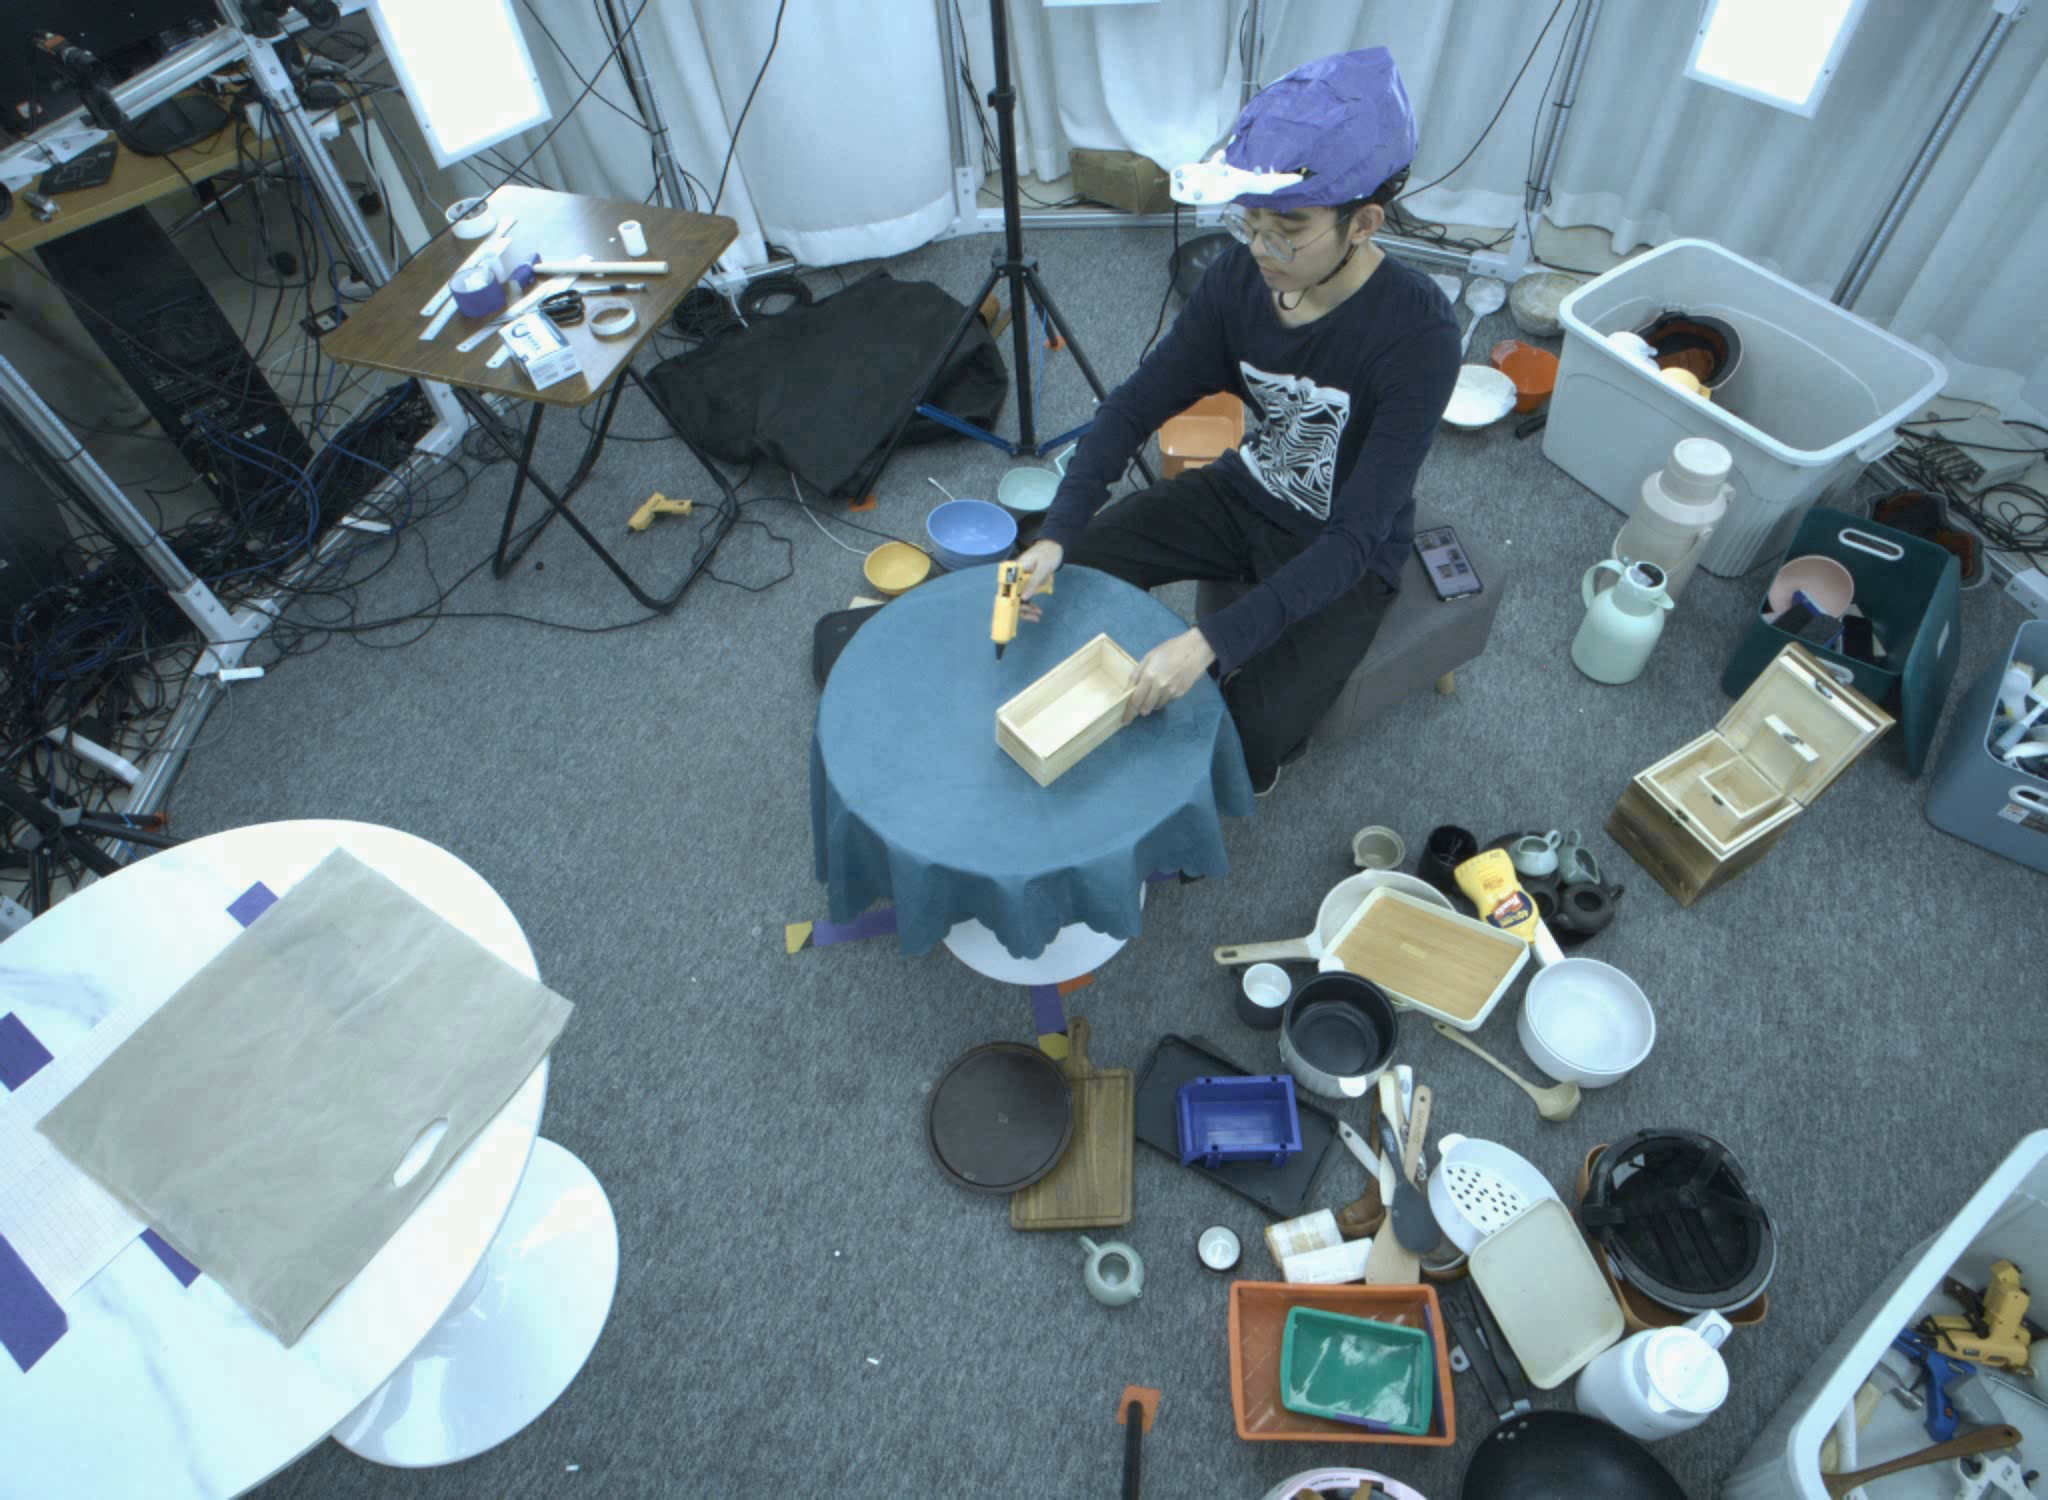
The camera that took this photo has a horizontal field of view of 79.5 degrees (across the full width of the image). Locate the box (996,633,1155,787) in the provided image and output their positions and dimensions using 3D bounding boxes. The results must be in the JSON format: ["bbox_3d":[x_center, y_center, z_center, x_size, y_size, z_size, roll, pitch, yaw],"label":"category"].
[{"bbox_3d":[0.073,-0.059,1.769,0.213,0.081,0.106,-37,68,-21],"label":"box"}]

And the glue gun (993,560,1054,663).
[{"bbox_3d":[-0.004,-0.205,1.849,0.030,0.135,0.151,14,100,31],"label":"glue gun"}]
